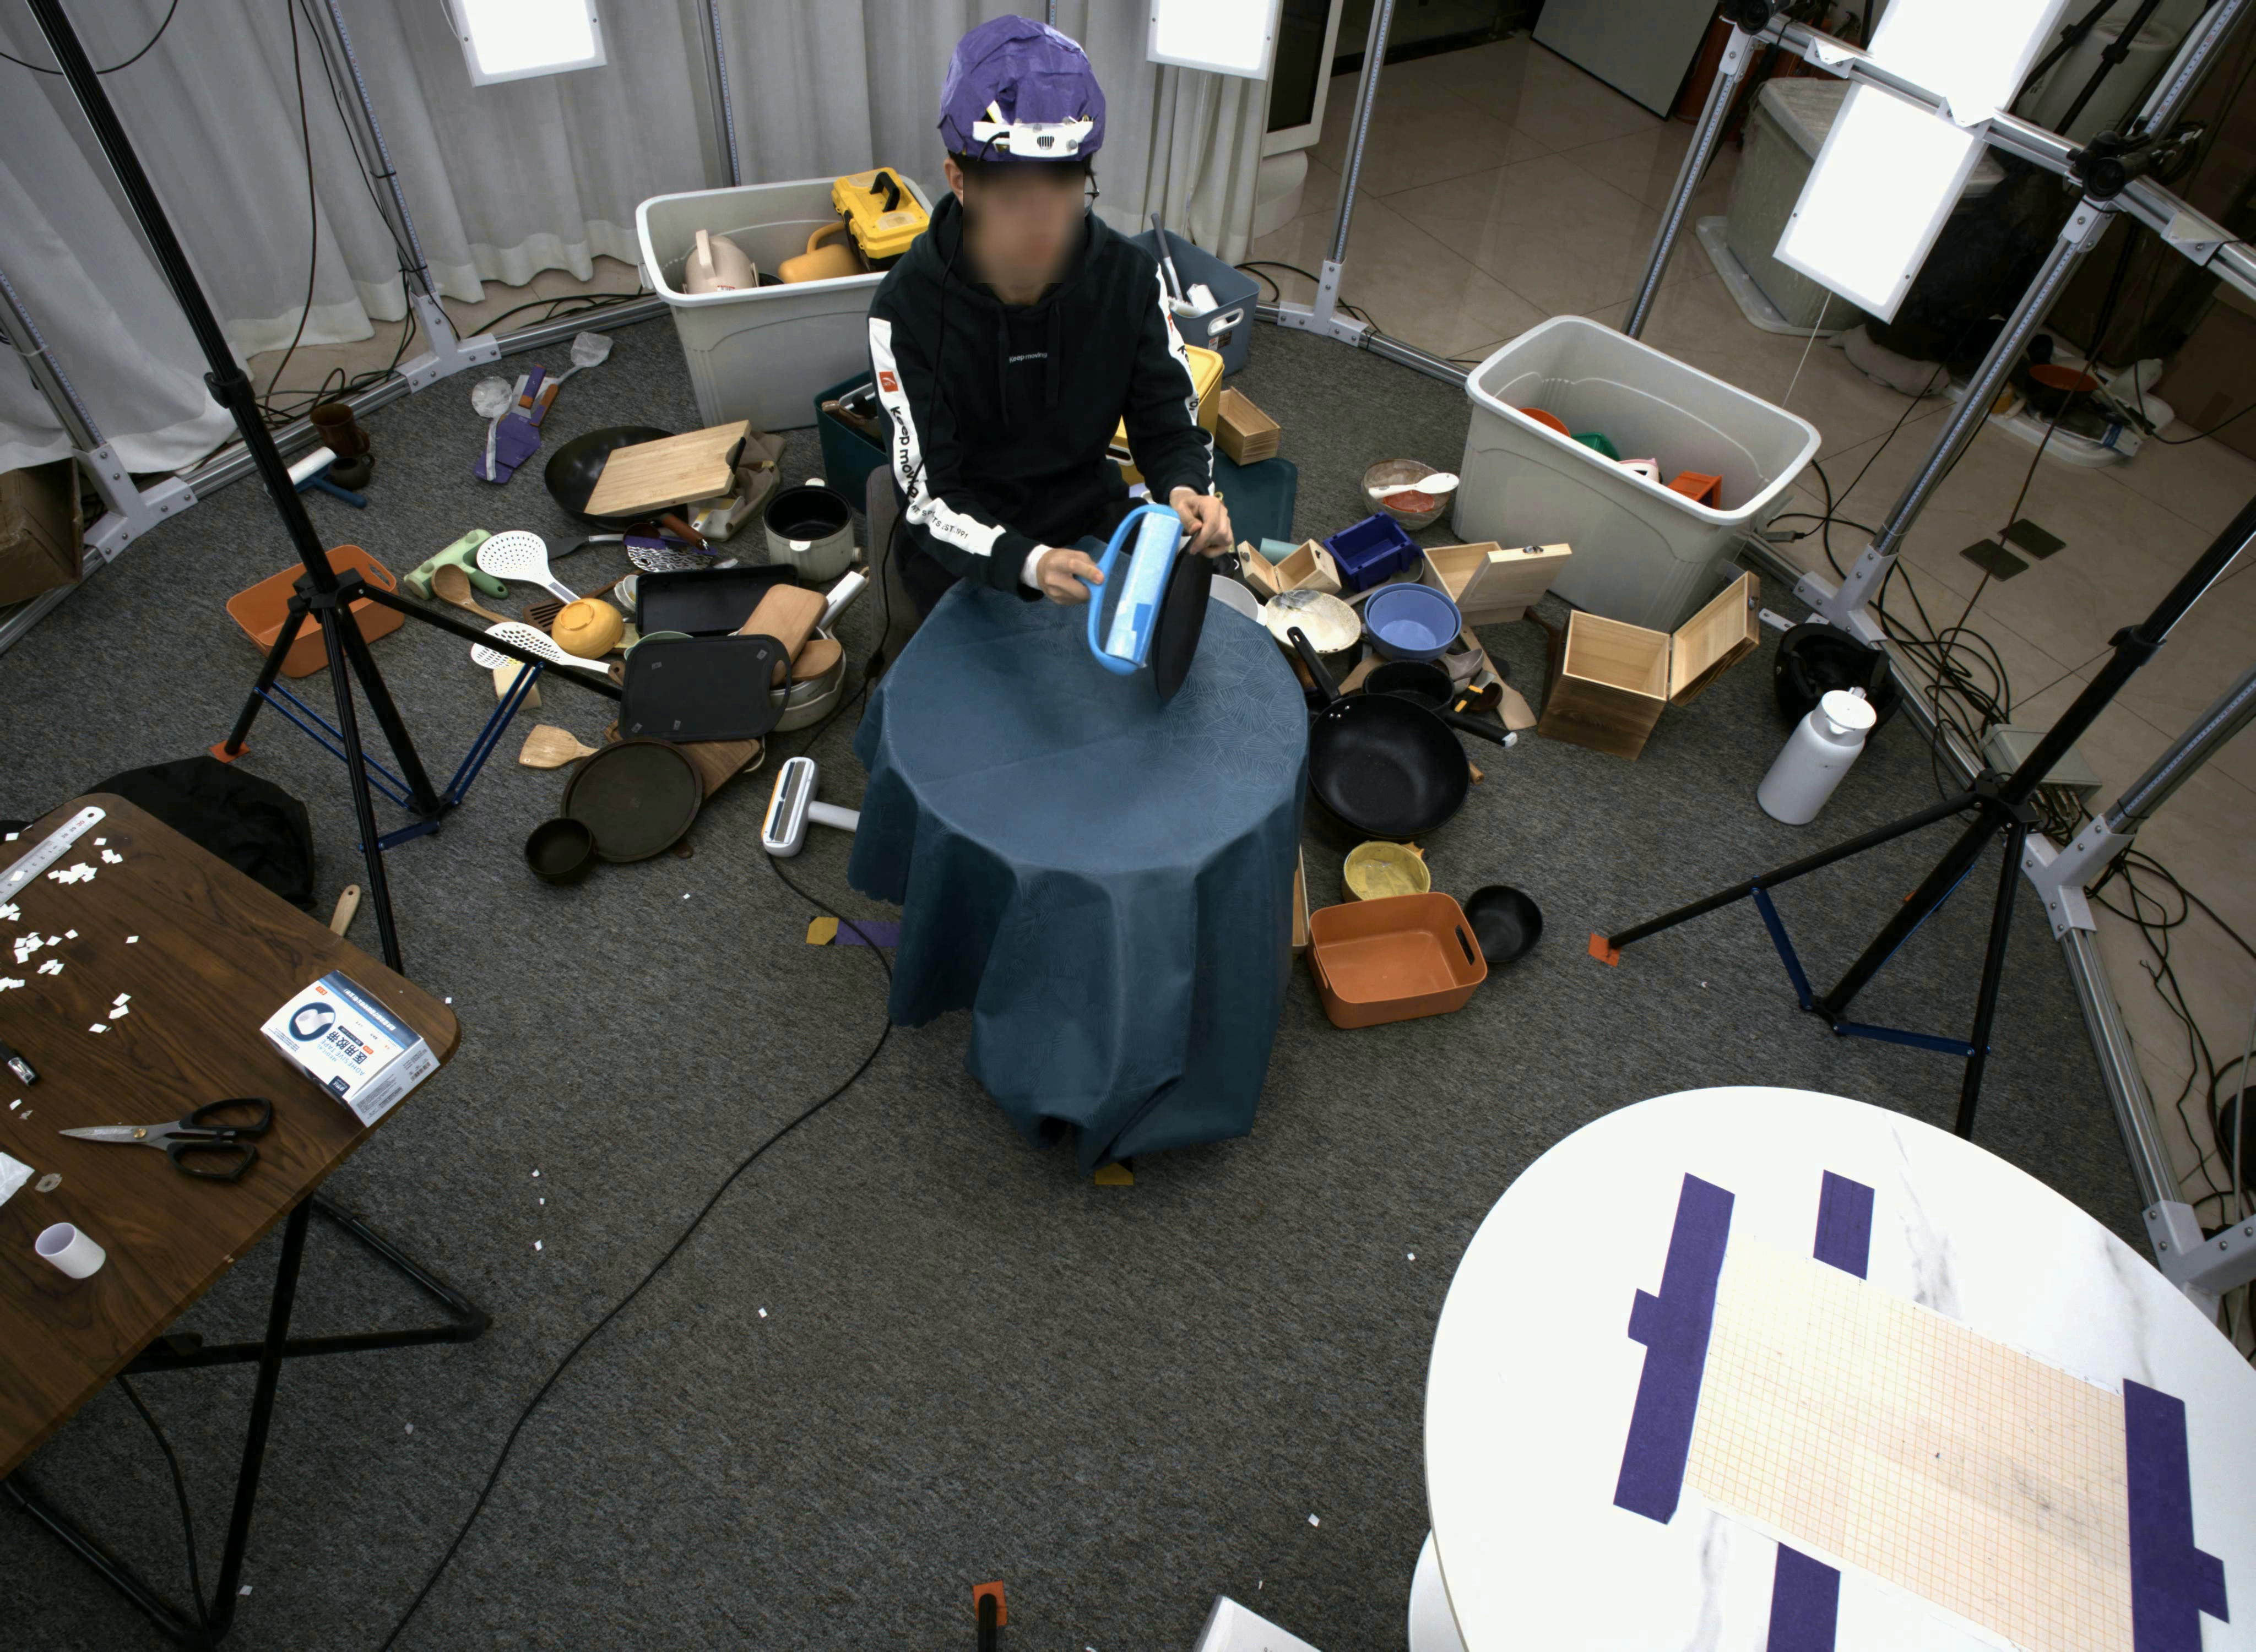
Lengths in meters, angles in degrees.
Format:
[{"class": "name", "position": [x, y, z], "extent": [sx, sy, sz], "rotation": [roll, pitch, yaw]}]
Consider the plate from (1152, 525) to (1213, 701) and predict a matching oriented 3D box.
[{"class": "plate", "position": [0.072, -0.294, 1.773], "extent": [0.023, 0.238, 0.249], "rotation": [14, 50, 13]}]

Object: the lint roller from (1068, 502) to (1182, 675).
[{"class": "lint roller", "position": [-0.027, -0.315, 1.698], "extent": [0.182, 0.067, 0.230], "rotation": [10, 83, 40]}]
